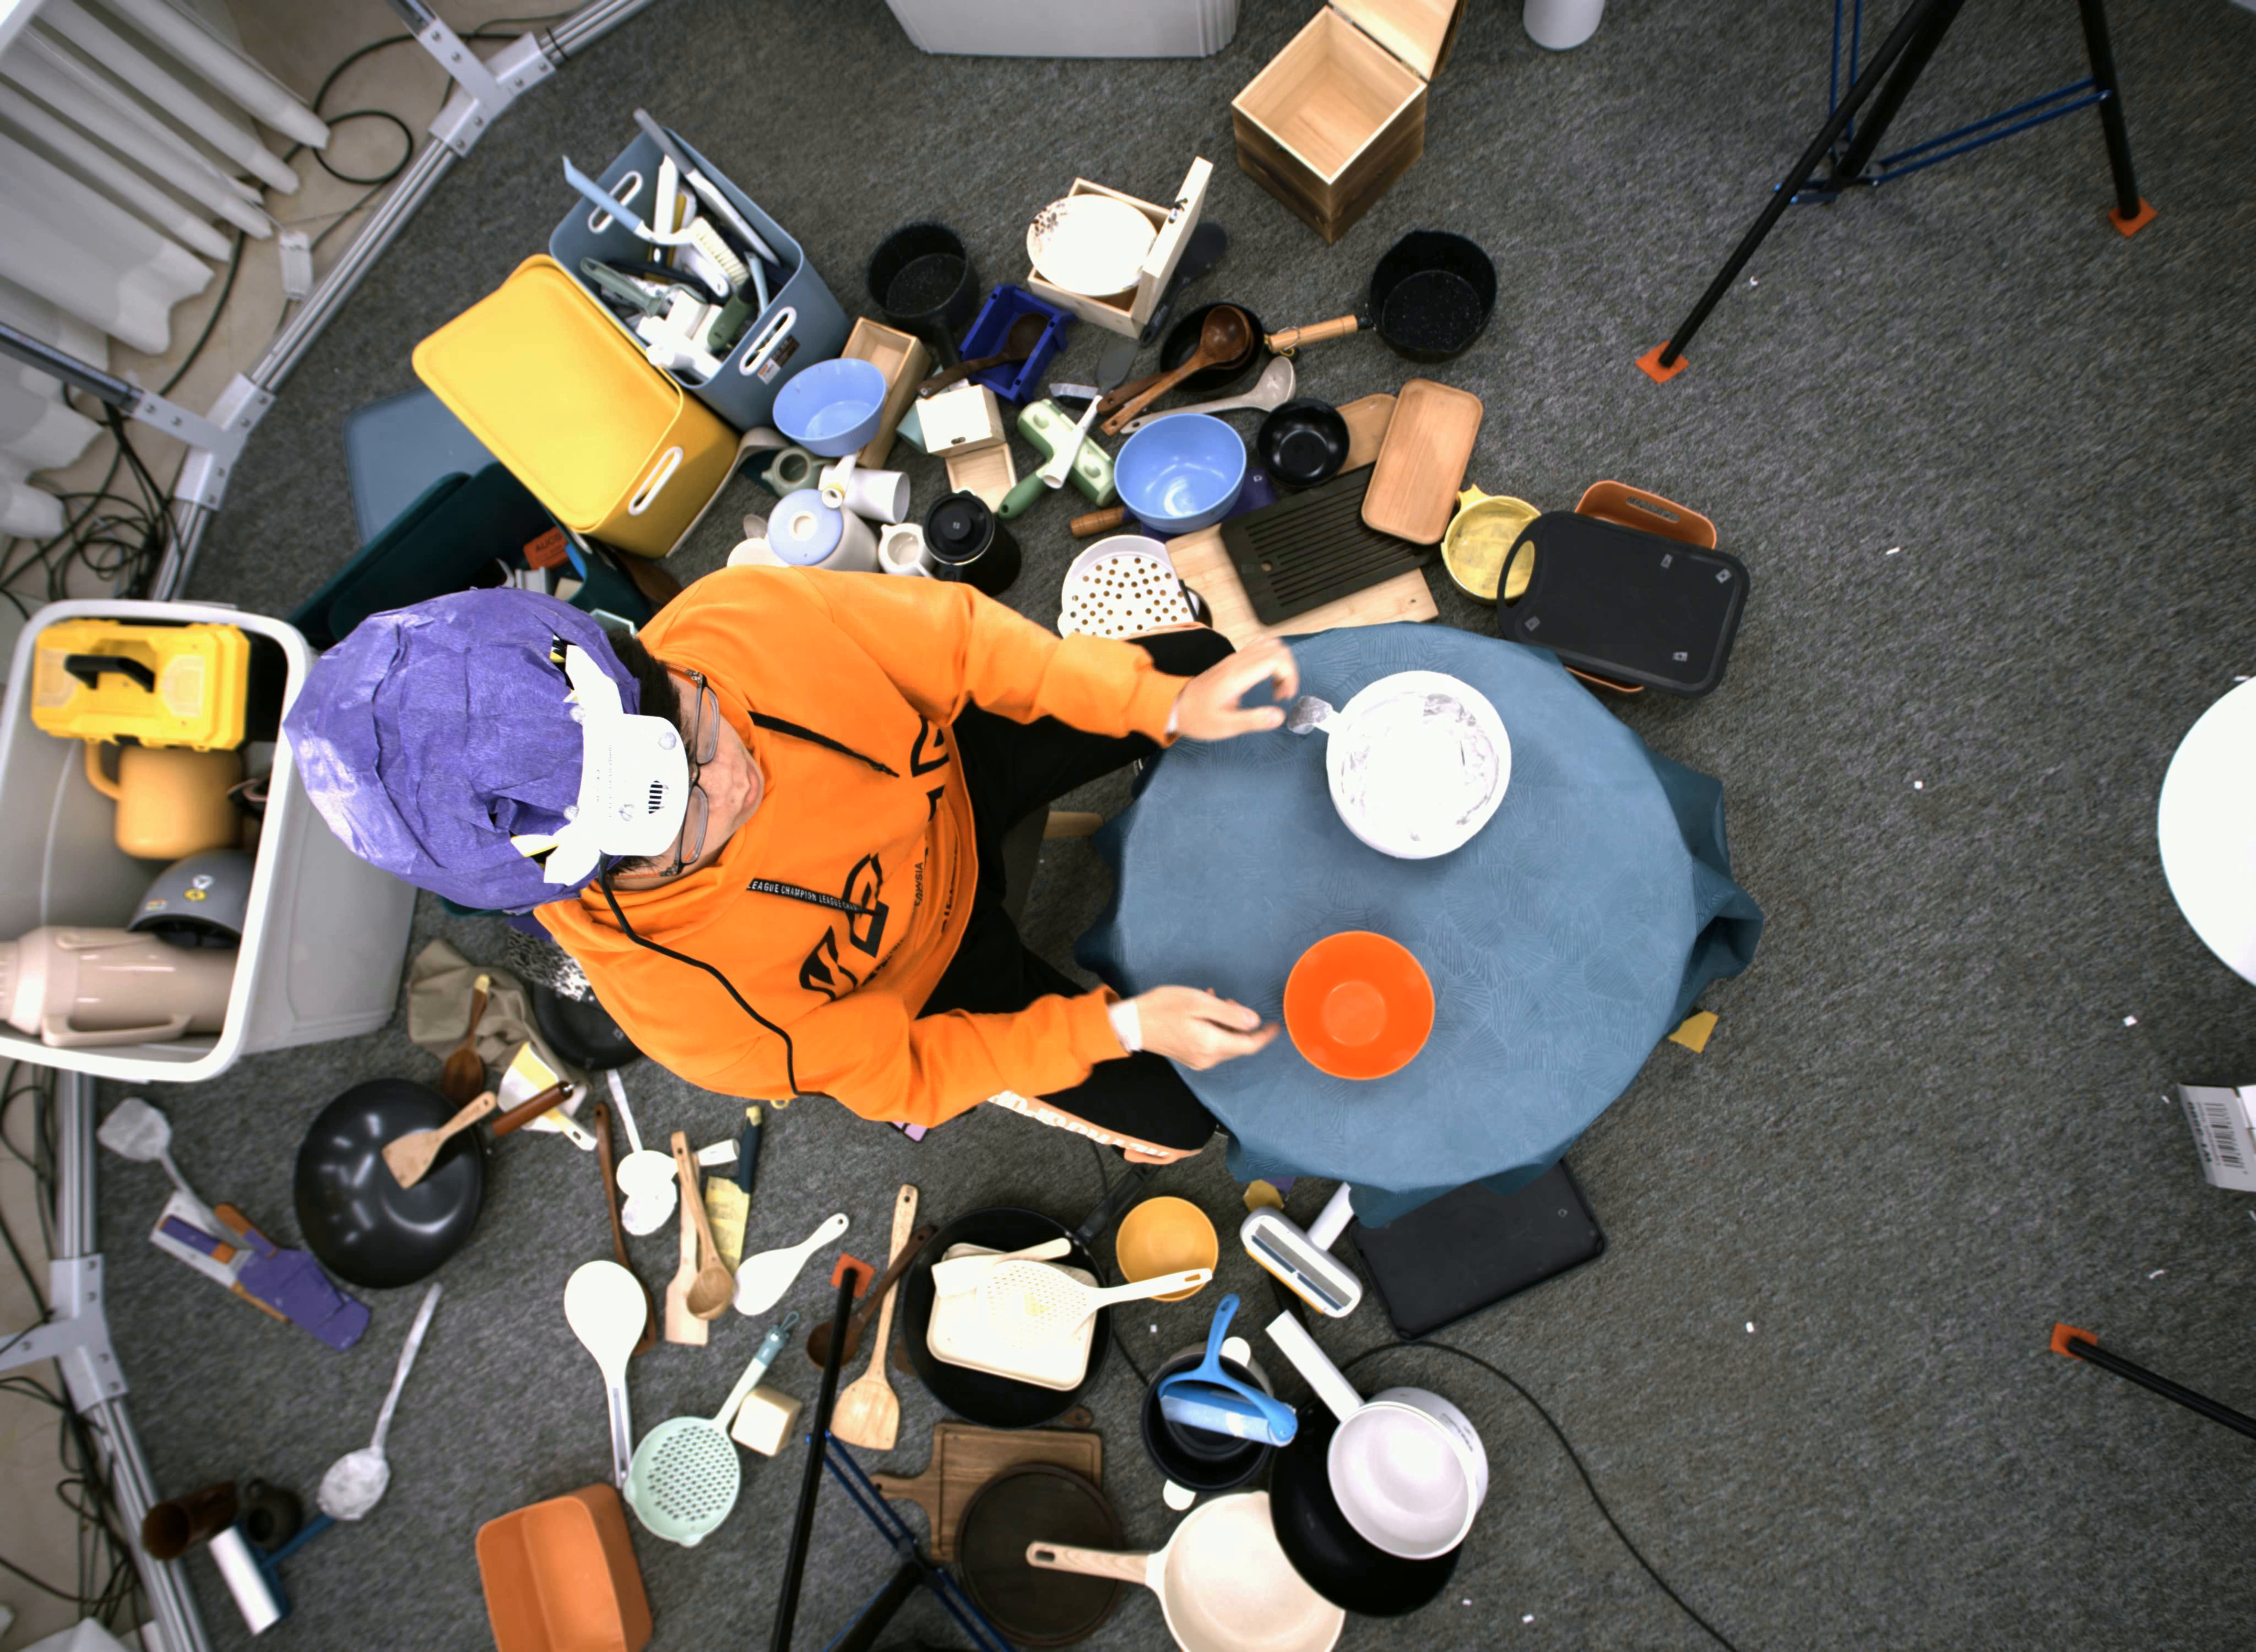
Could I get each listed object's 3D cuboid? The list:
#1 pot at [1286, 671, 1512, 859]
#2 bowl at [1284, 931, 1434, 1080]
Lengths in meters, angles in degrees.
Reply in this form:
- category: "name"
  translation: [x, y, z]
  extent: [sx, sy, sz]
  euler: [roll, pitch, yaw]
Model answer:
- category: "pot"
  translation: [0.267, -0.071, 1.399]
  extent: [0.233, 0.137, 0.179]
  euler: [27, 90, 11]
- category: "bowl"
  translation: [0.235, 0.181, 1.411]
  extent: [0.148, 0.104, 0.147]
  euler: [-1, 87, 11]
